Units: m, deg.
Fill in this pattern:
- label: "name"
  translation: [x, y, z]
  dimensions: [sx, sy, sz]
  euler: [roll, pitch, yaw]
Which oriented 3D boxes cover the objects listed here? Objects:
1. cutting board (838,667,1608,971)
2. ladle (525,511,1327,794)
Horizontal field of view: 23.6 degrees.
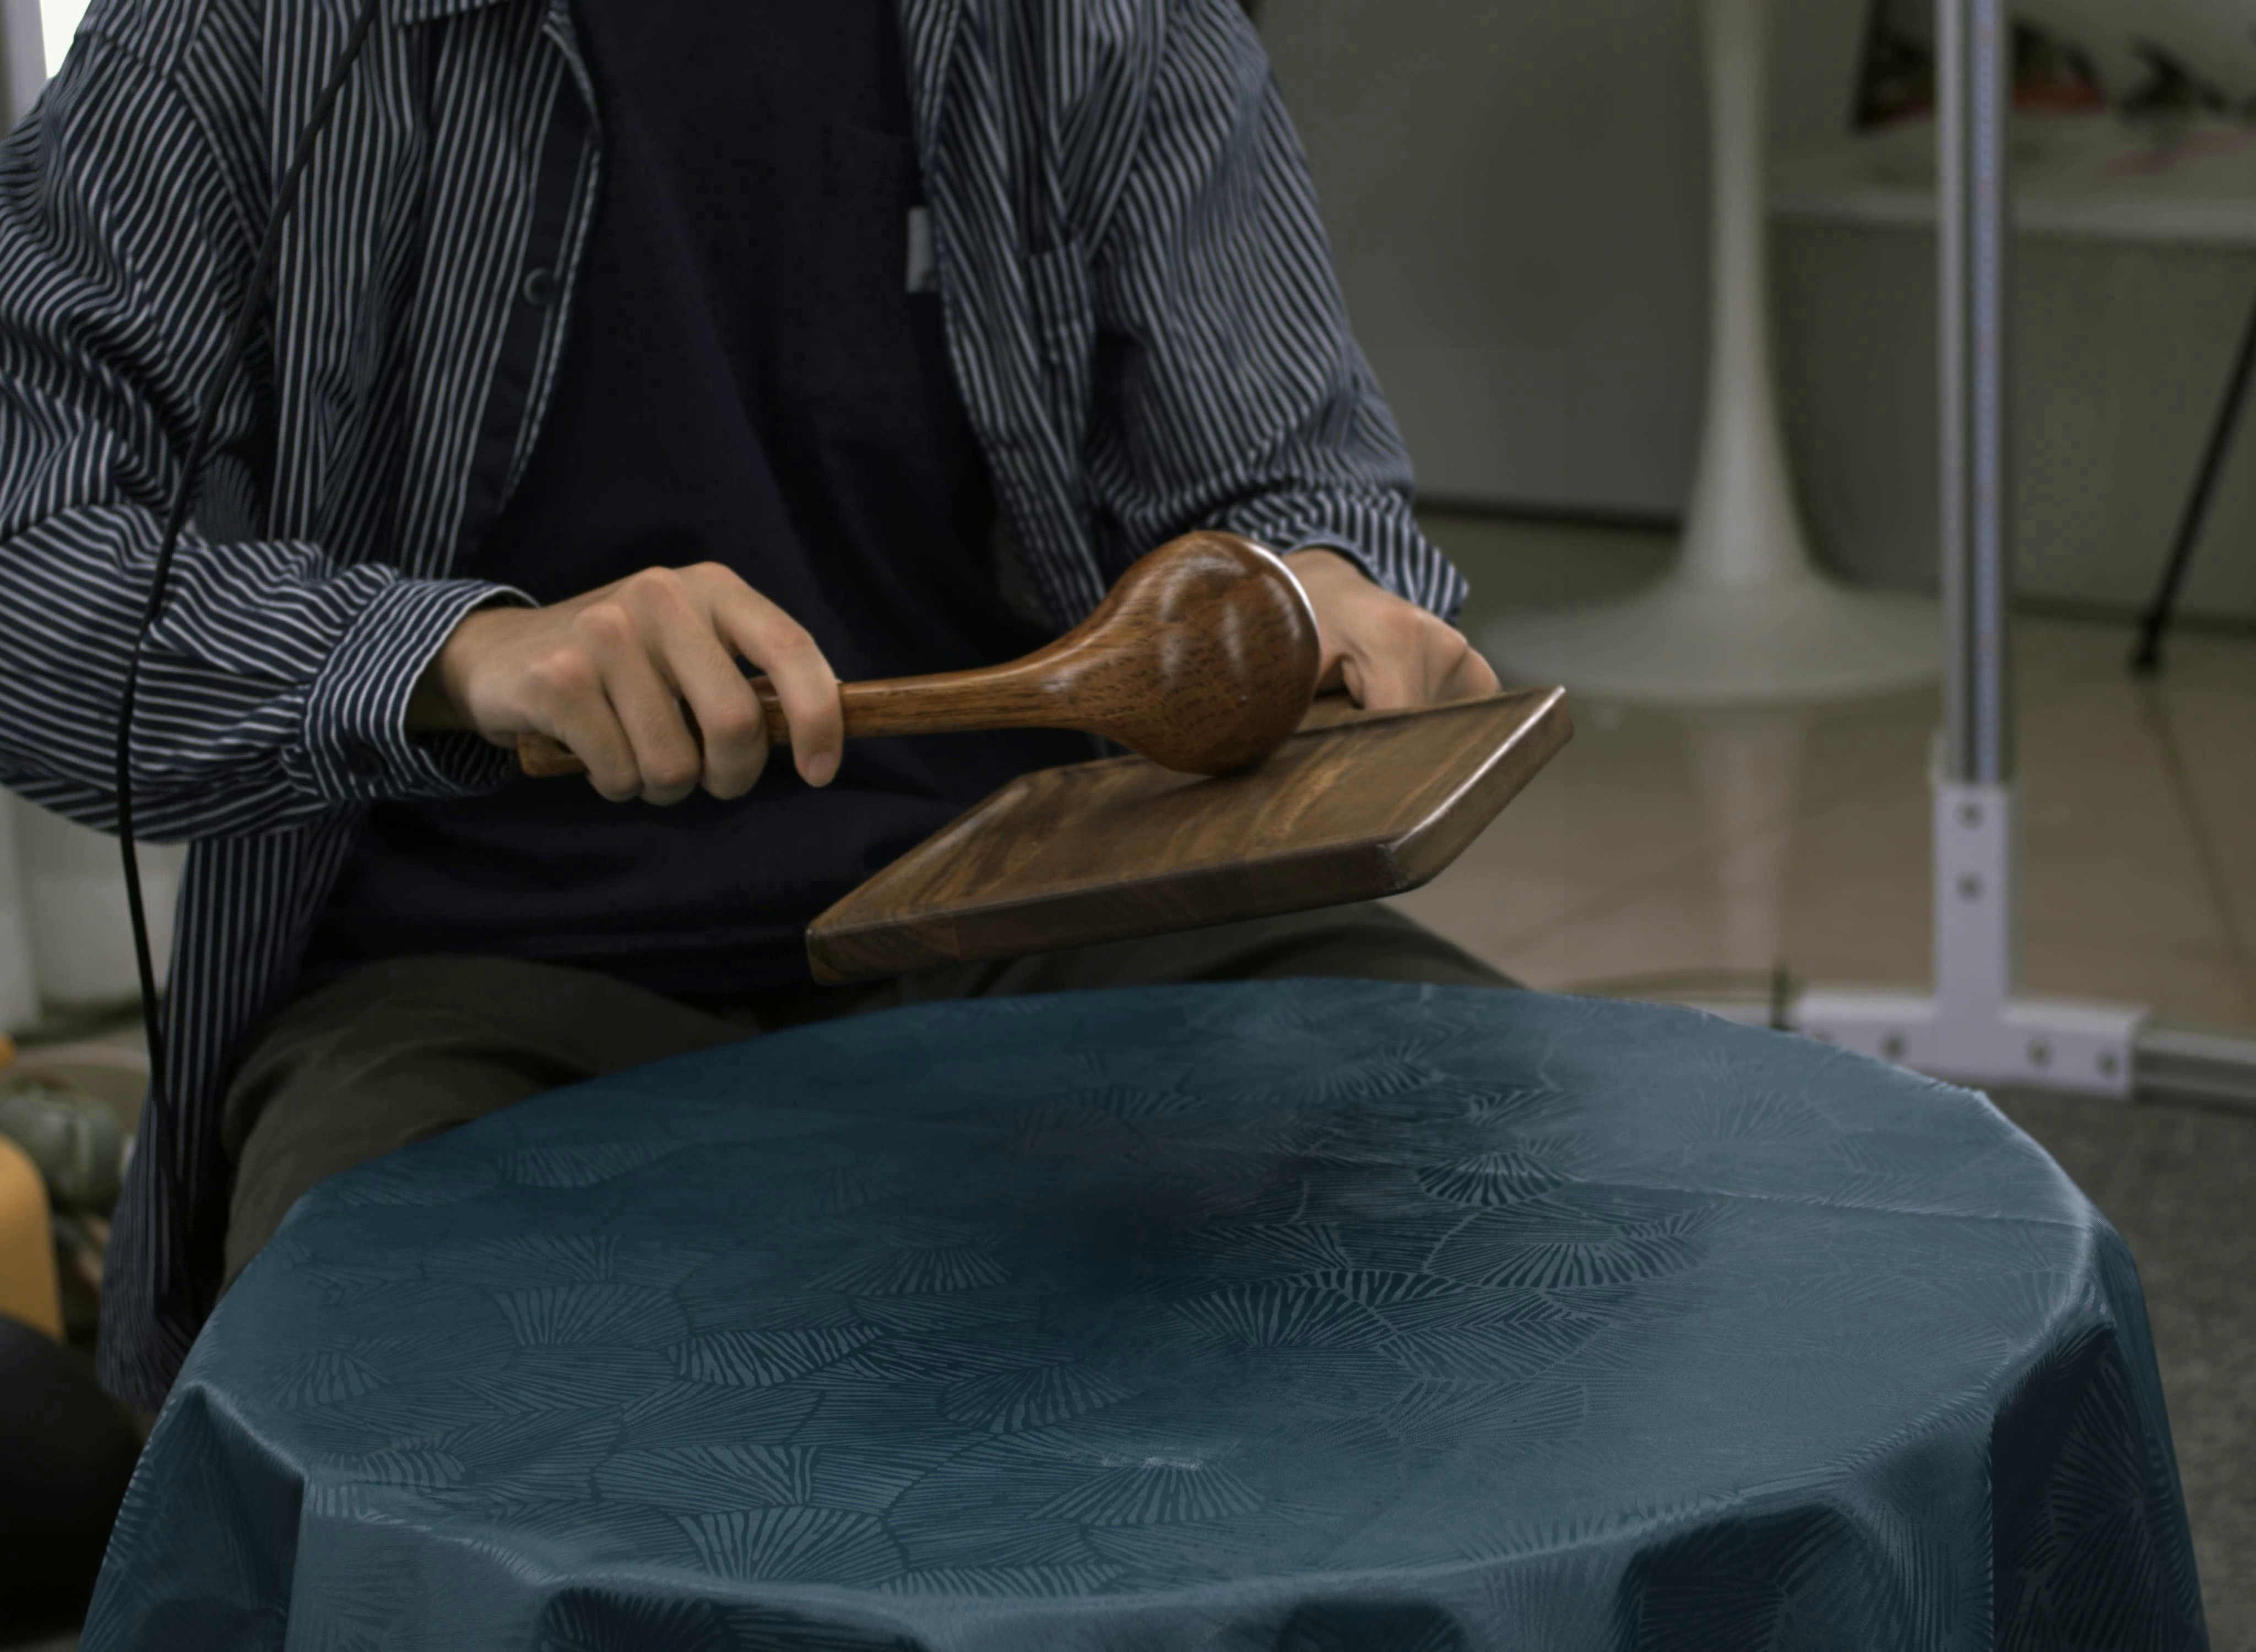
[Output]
- label: "cutting board"
  translation: [0.048, -0.013, 1.738]
  dimensions: [0.200, 0.023, 0.349]
  euler: [-10, 8, 18]
- label: "ladle"
  translation: [-0.067, -0.048, 1.799]
  dimensions: [0.274, 0.083, 0.075]
  euler: [-8, 4, 24]
